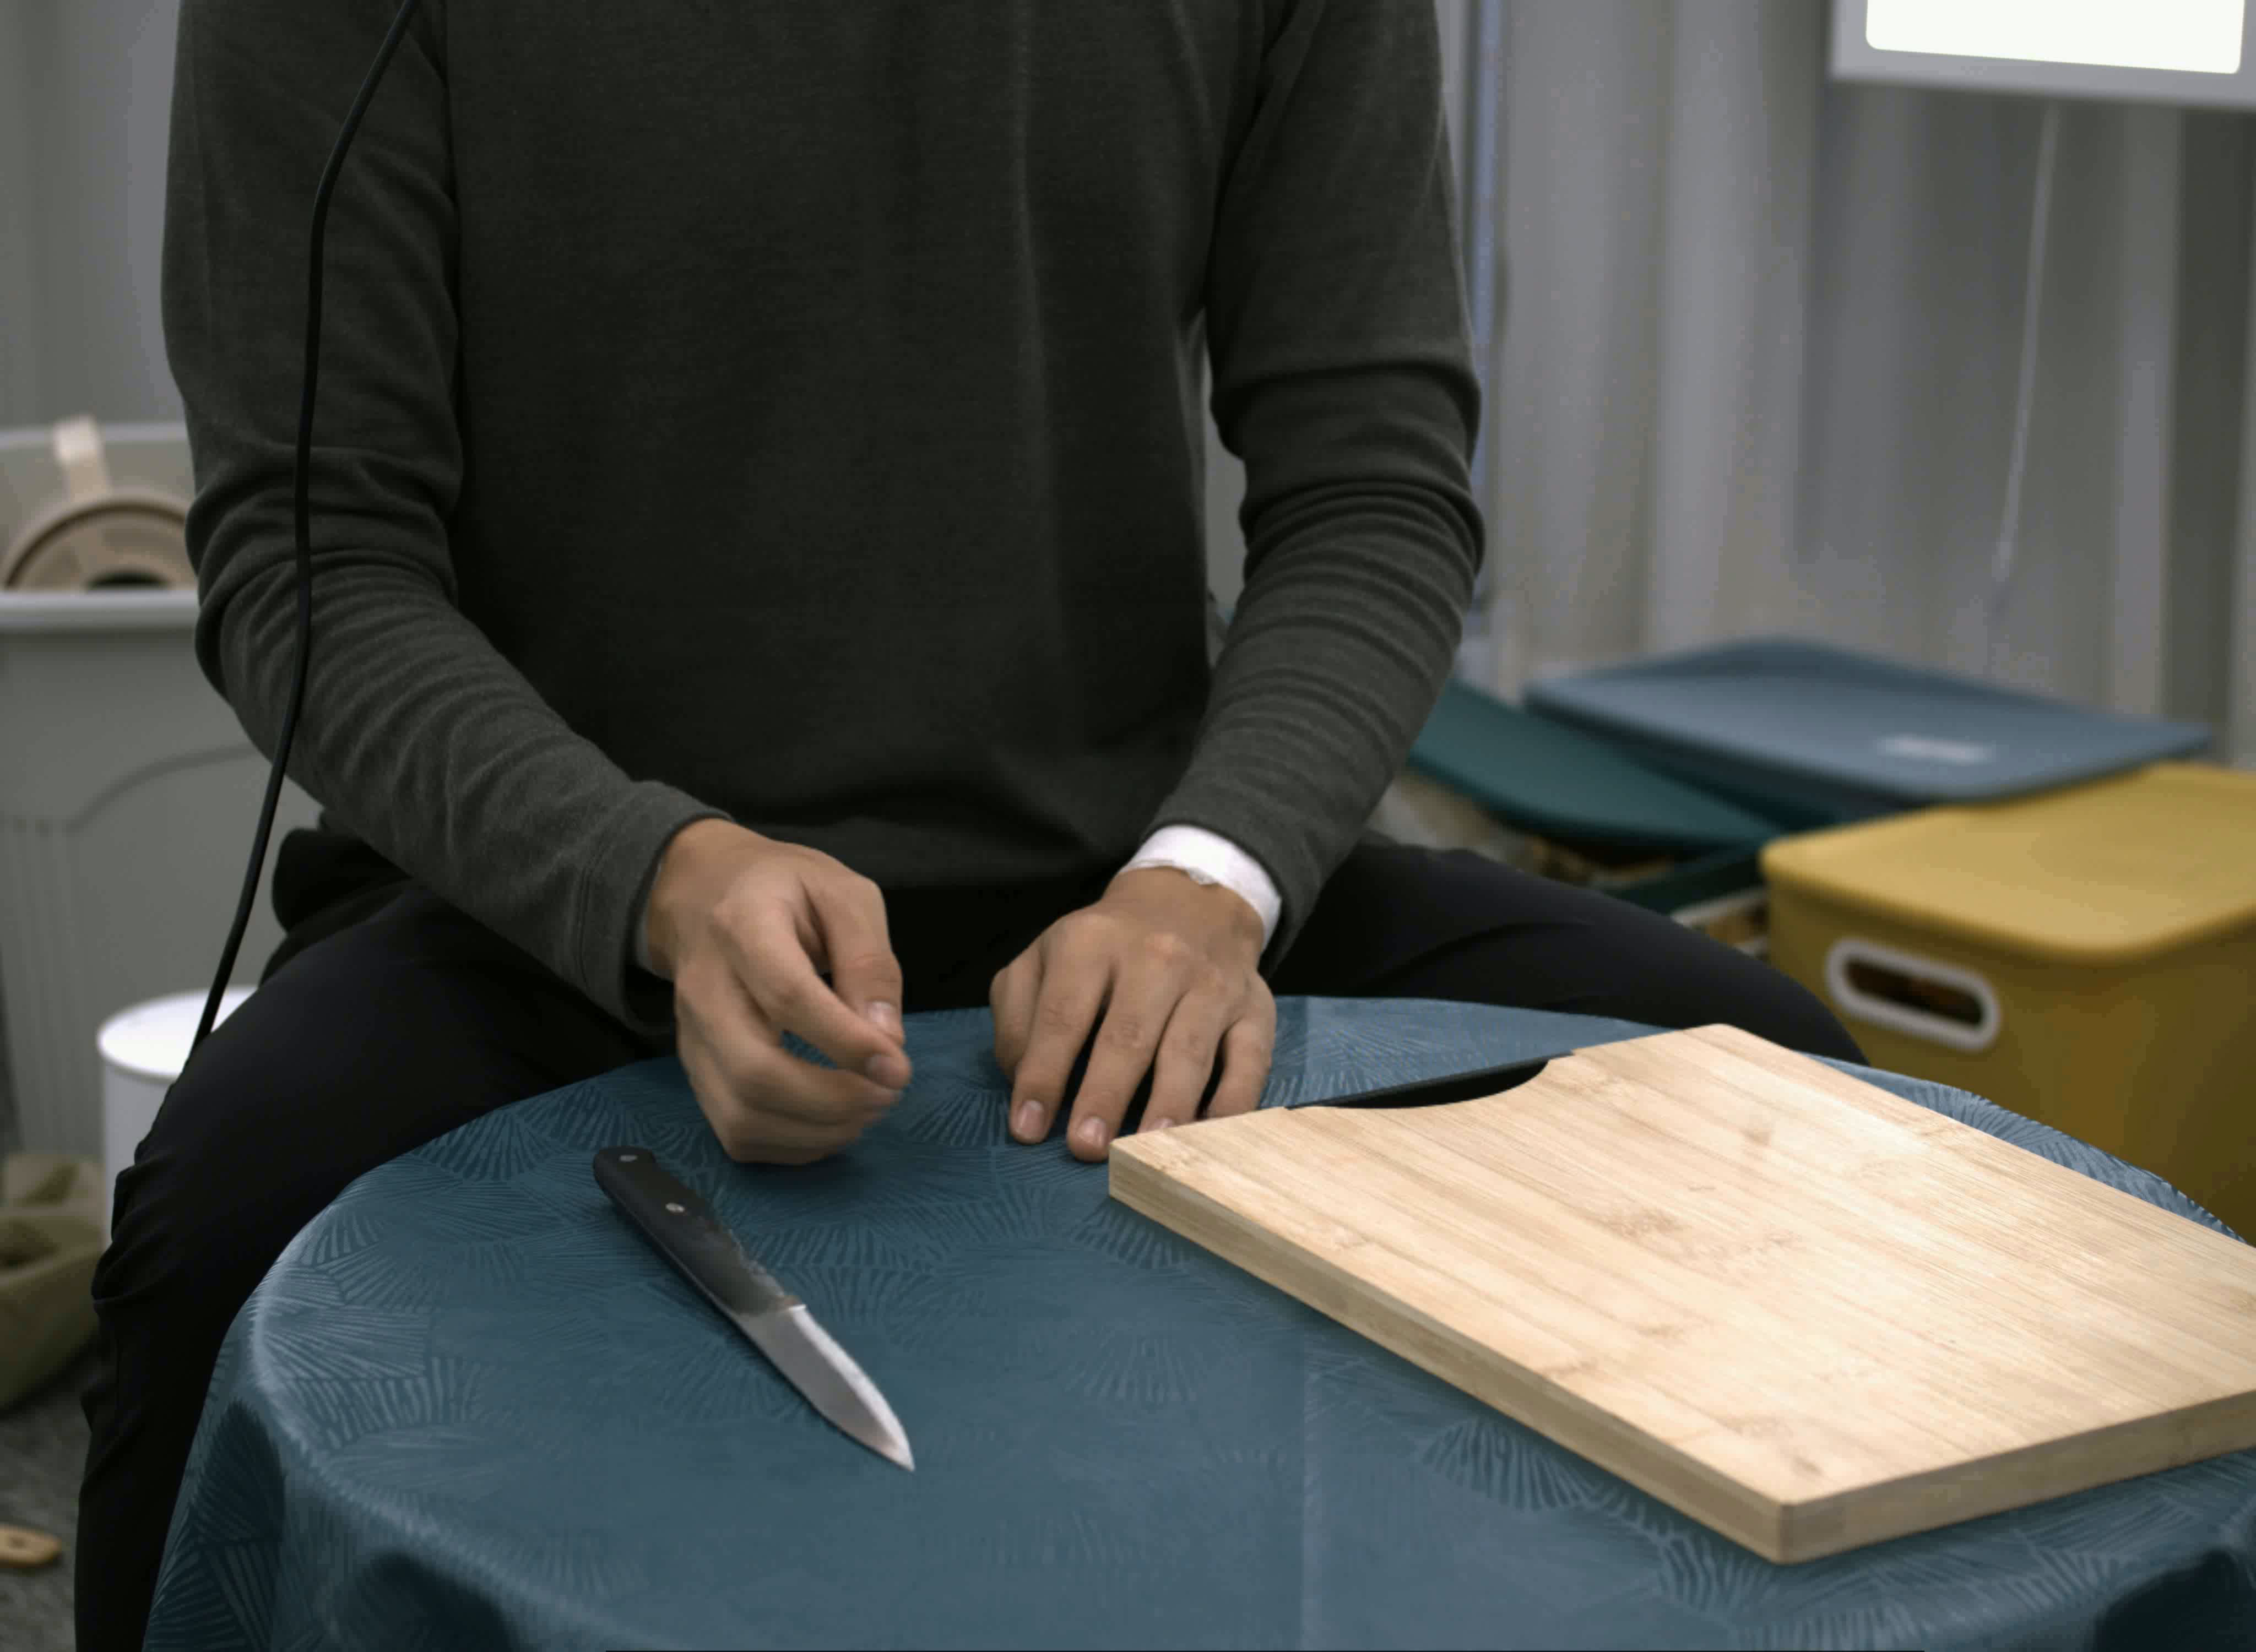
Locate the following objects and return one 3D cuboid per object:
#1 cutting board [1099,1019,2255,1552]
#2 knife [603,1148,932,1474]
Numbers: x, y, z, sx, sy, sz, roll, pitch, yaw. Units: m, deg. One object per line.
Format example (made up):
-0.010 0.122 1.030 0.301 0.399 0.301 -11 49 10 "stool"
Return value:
0.180 0.127 1.550 0.252 0.024 0.344 -8 18 -31 "cutting board"
-0.105 0.139 1.505 0.024 0.016 0.235 -13 22 -22 "knife"
